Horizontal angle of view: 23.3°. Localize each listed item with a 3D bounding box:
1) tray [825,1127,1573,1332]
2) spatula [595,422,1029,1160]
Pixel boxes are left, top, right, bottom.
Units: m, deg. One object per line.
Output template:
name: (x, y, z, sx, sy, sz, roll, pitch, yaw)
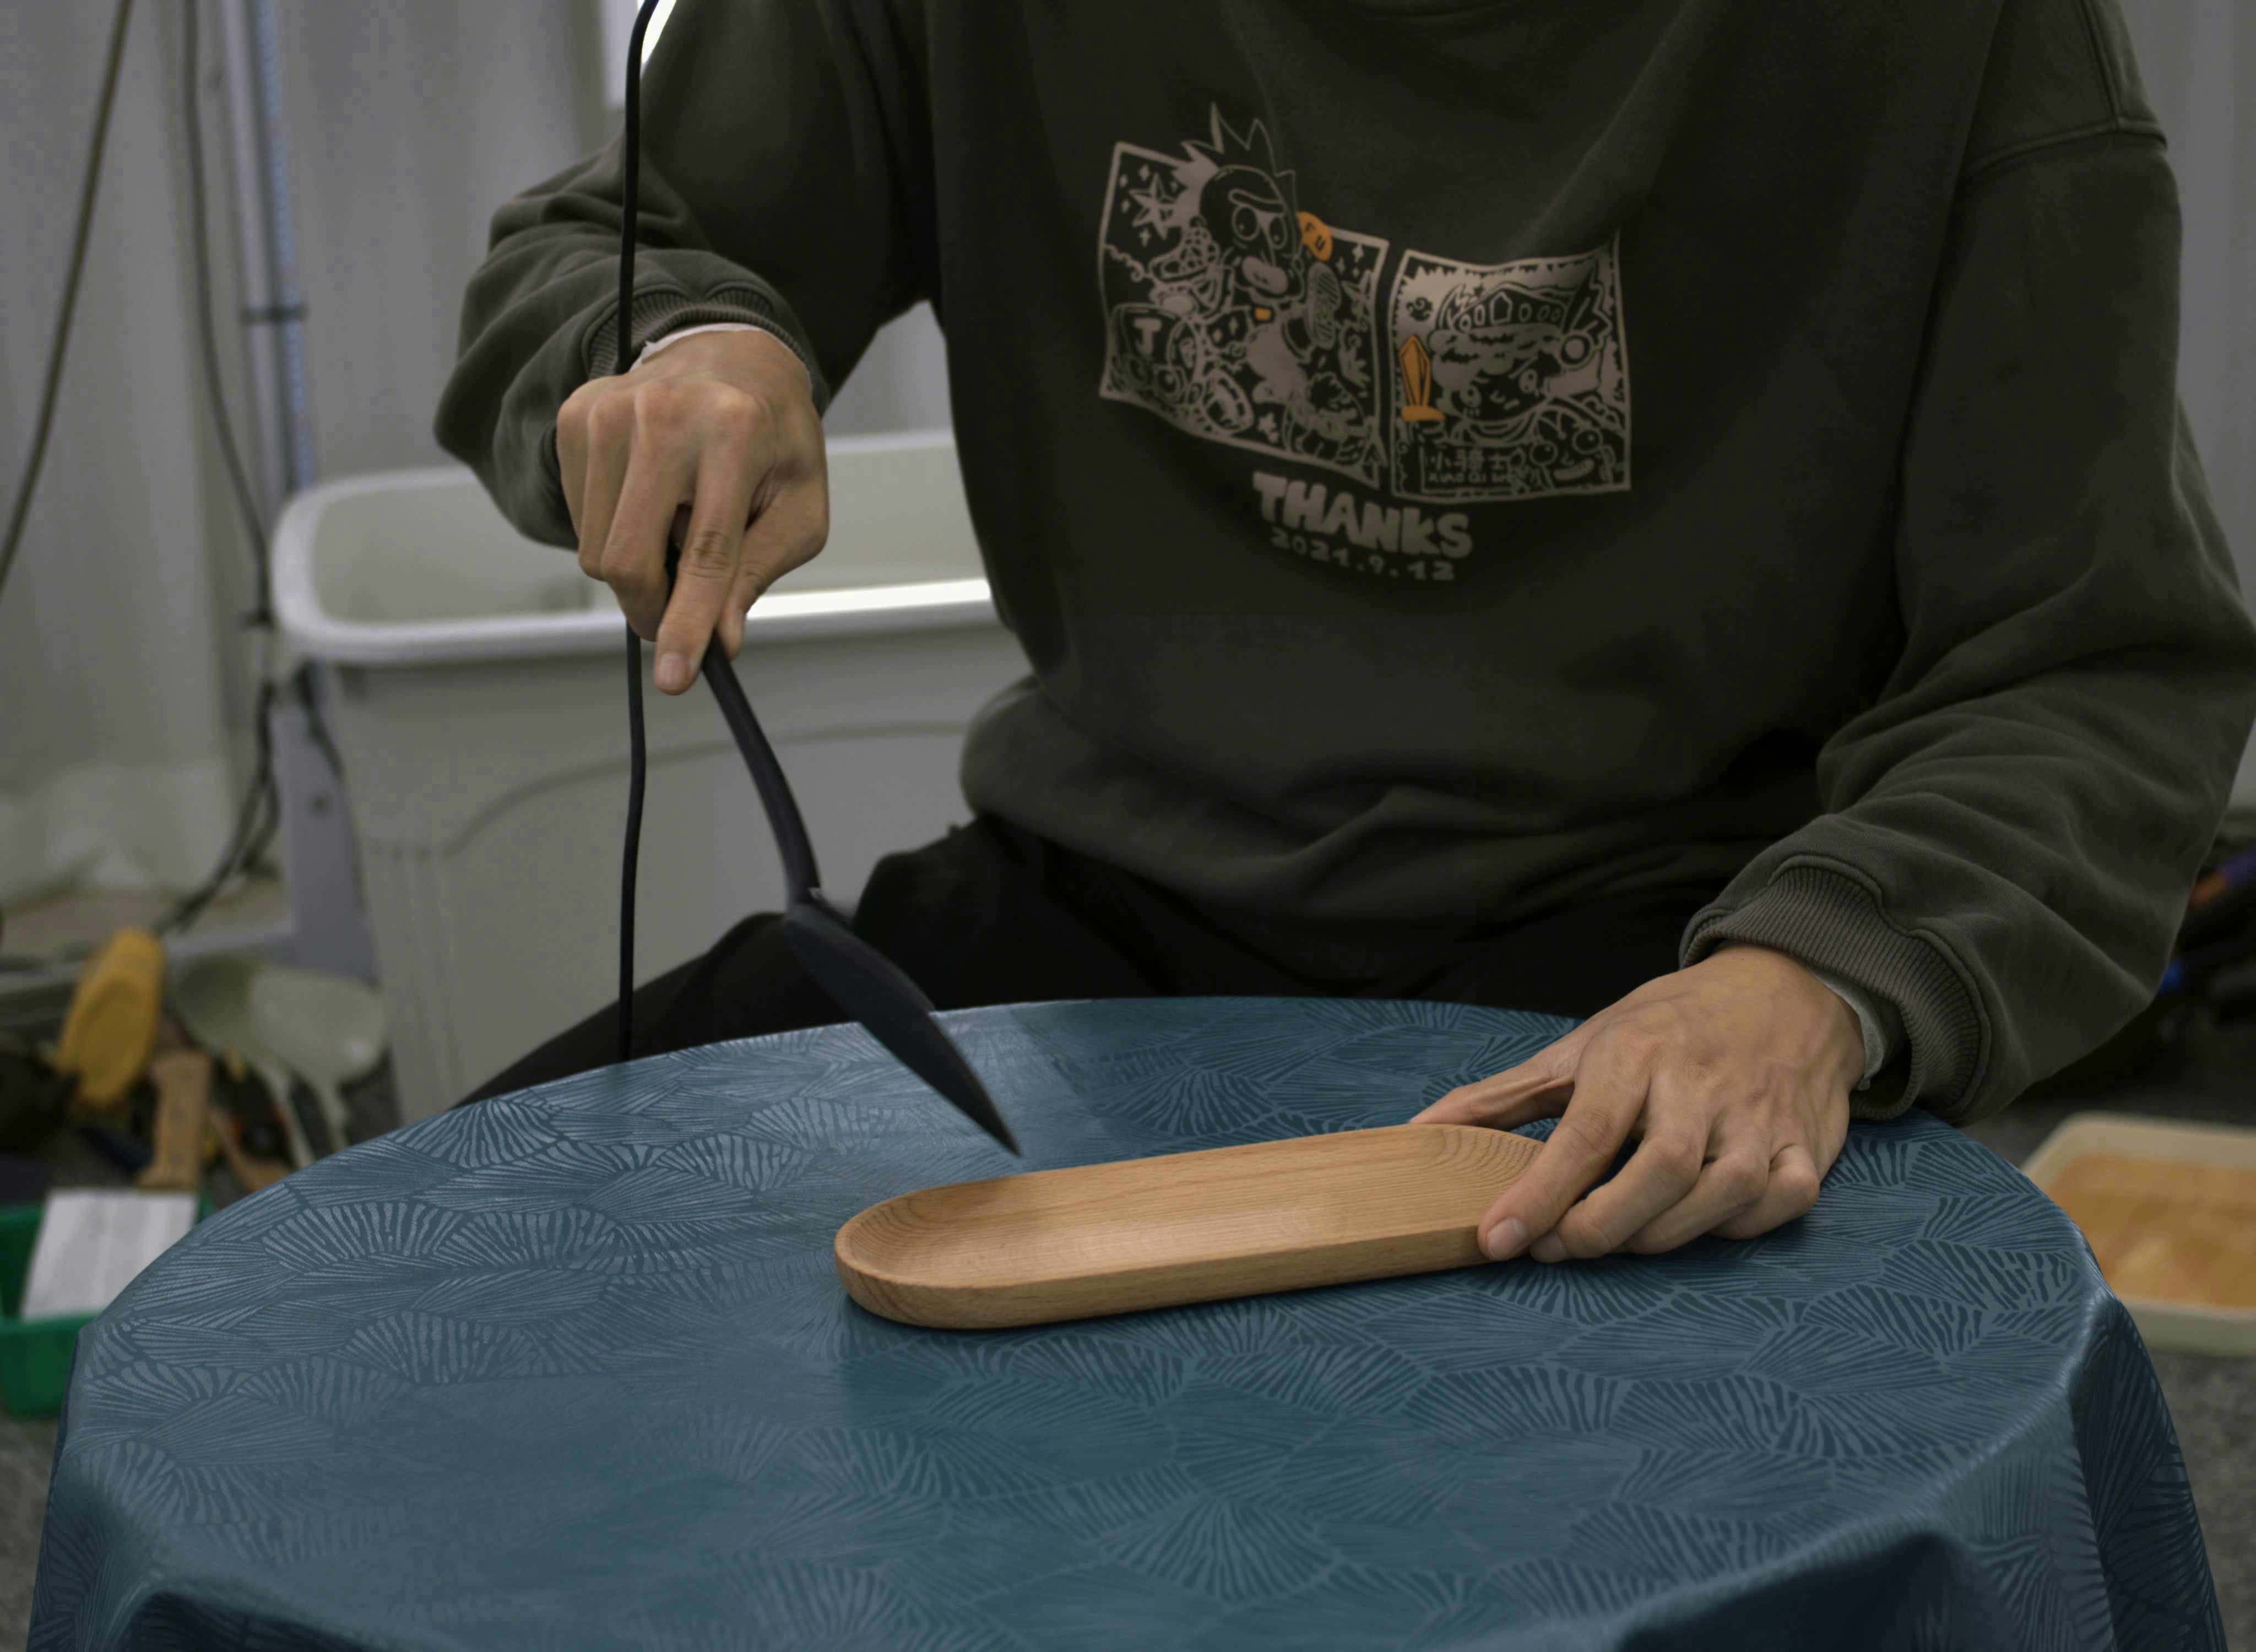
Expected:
tray: (0.022, 0.122, 1.658, 0.230, 0.020, 0.102, -8, 15, -12)
spatula: (-0.111, -0.025, 1.760, 0.040, 0.098, 0.331, -26, 51, 1)
